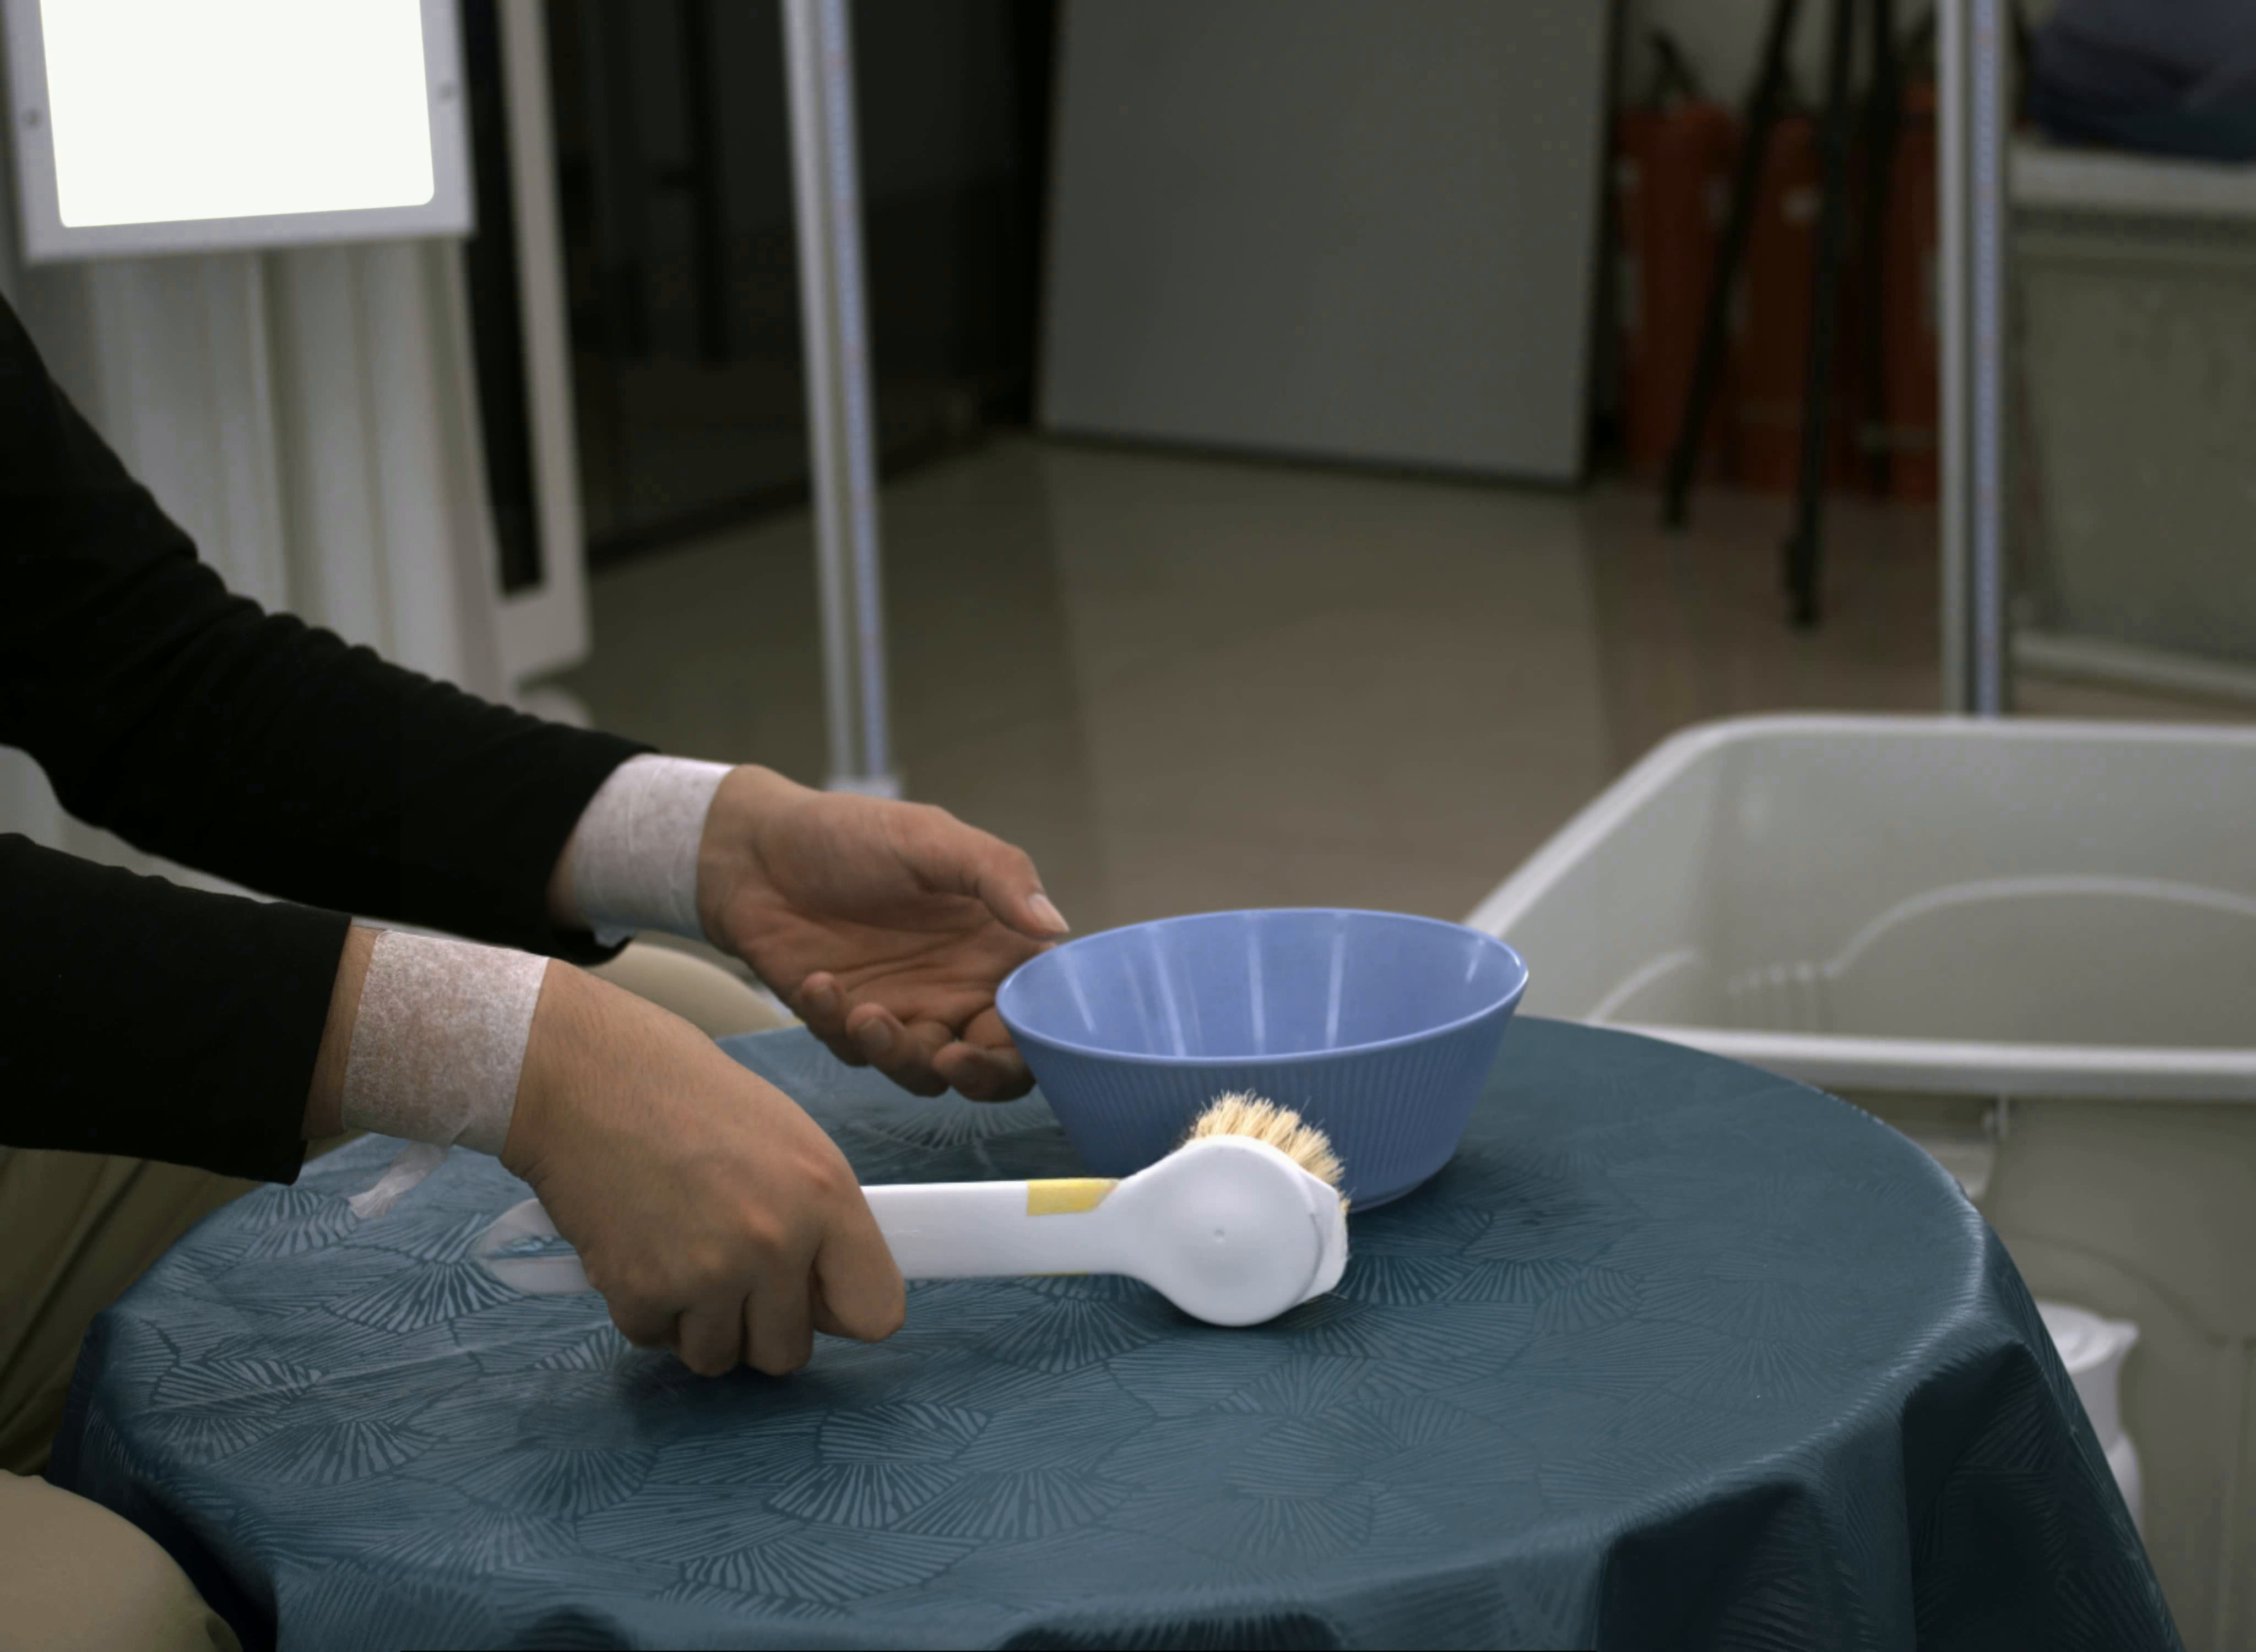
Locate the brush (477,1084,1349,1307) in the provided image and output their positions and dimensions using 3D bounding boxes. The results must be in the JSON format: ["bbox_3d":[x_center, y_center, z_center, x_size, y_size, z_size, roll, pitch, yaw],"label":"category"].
[{"bbox_3d":[-0.064,0.118,1.639,0.263,0.069,0.056,-2,1,-1],"label":"brush"}]

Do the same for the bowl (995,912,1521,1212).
[{"bbox_3d":[0.045,0.081,1.767,0.174,0.071,0.176,-5,13,0],"label":"bowl"}]
